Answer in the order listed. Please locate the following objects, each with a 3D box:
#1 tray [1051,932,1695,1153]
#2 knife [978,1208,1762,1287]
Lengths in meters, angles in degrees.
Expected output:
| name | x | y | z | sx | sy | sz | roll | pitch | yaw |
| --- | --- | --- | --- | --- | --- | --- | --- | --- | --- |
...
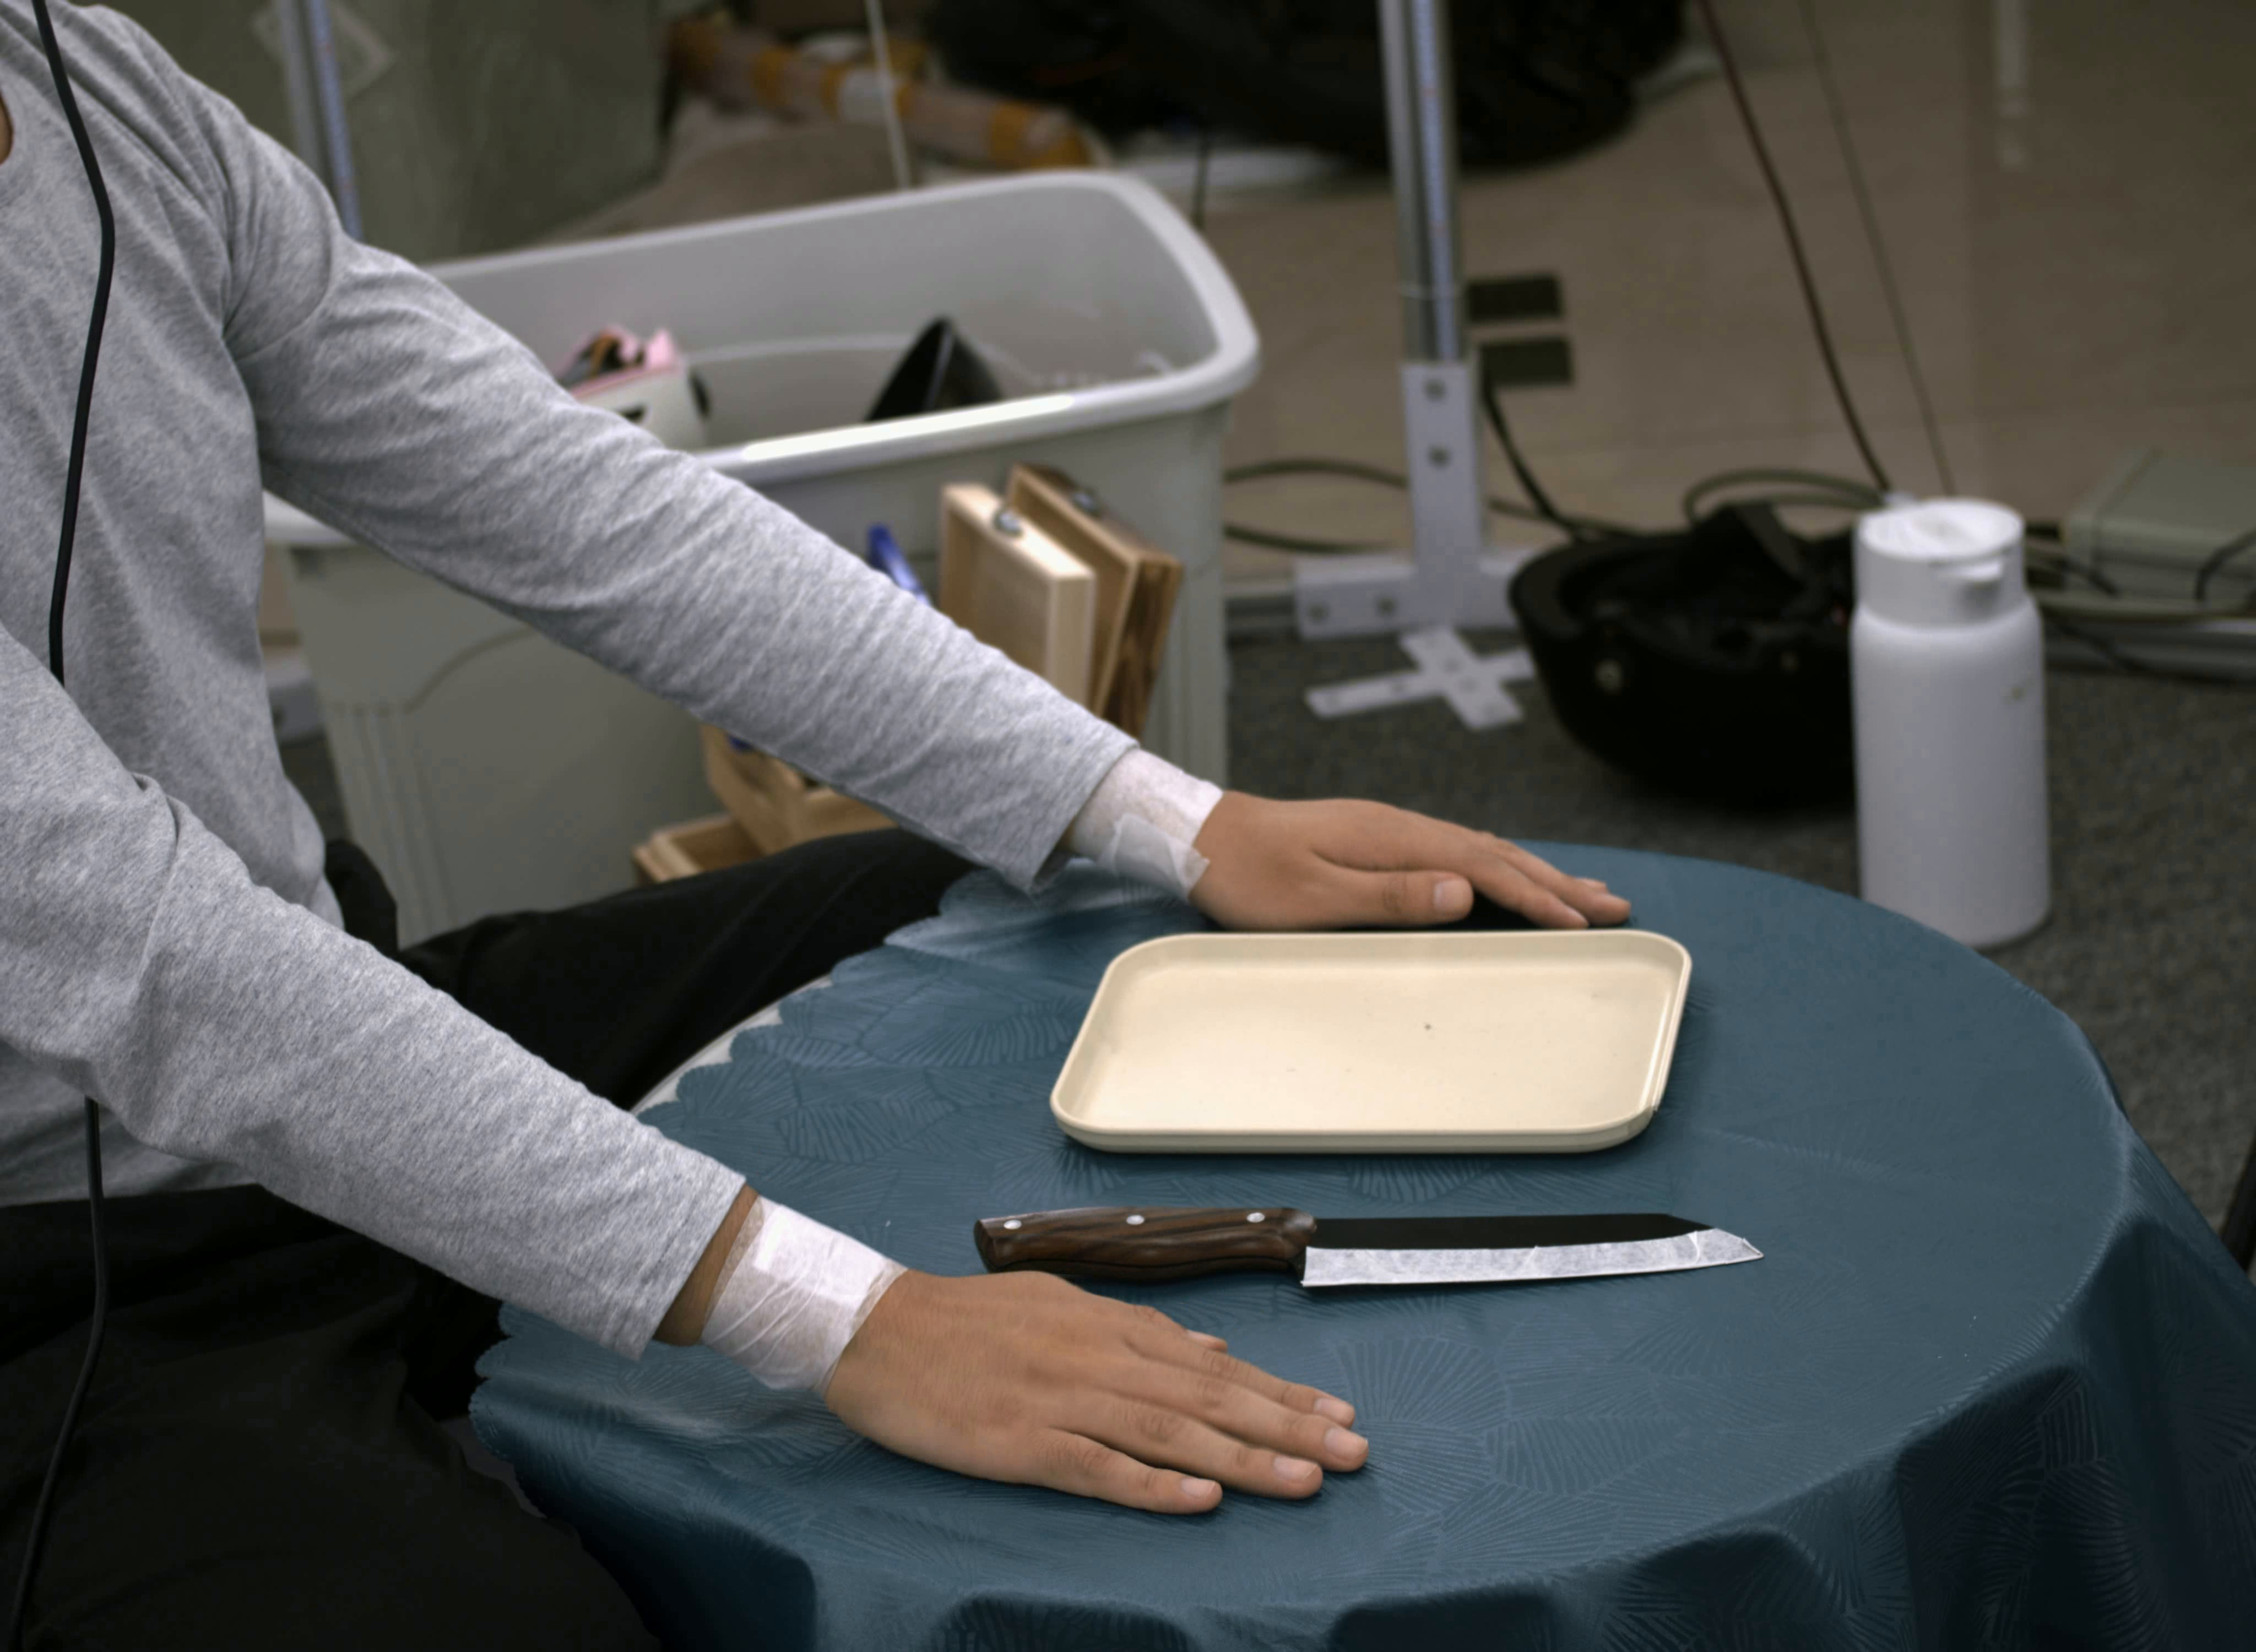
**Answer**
| name | x | y | z | sx | sy | sz | roll | pitch | yaw |
| --- | --- | --- | --- | --- | --- | --- | --- | --- | --- |
| tray | 0.098 | 0.086 | 2.222 | 0.239 | 0.018 | 0.169 | -1 | 25 | 13 |
| knife | 0.087 | 0.155 | 2.078 | 0.288 | 0.020 | 0.049 | -1 | 29 | 7 |
